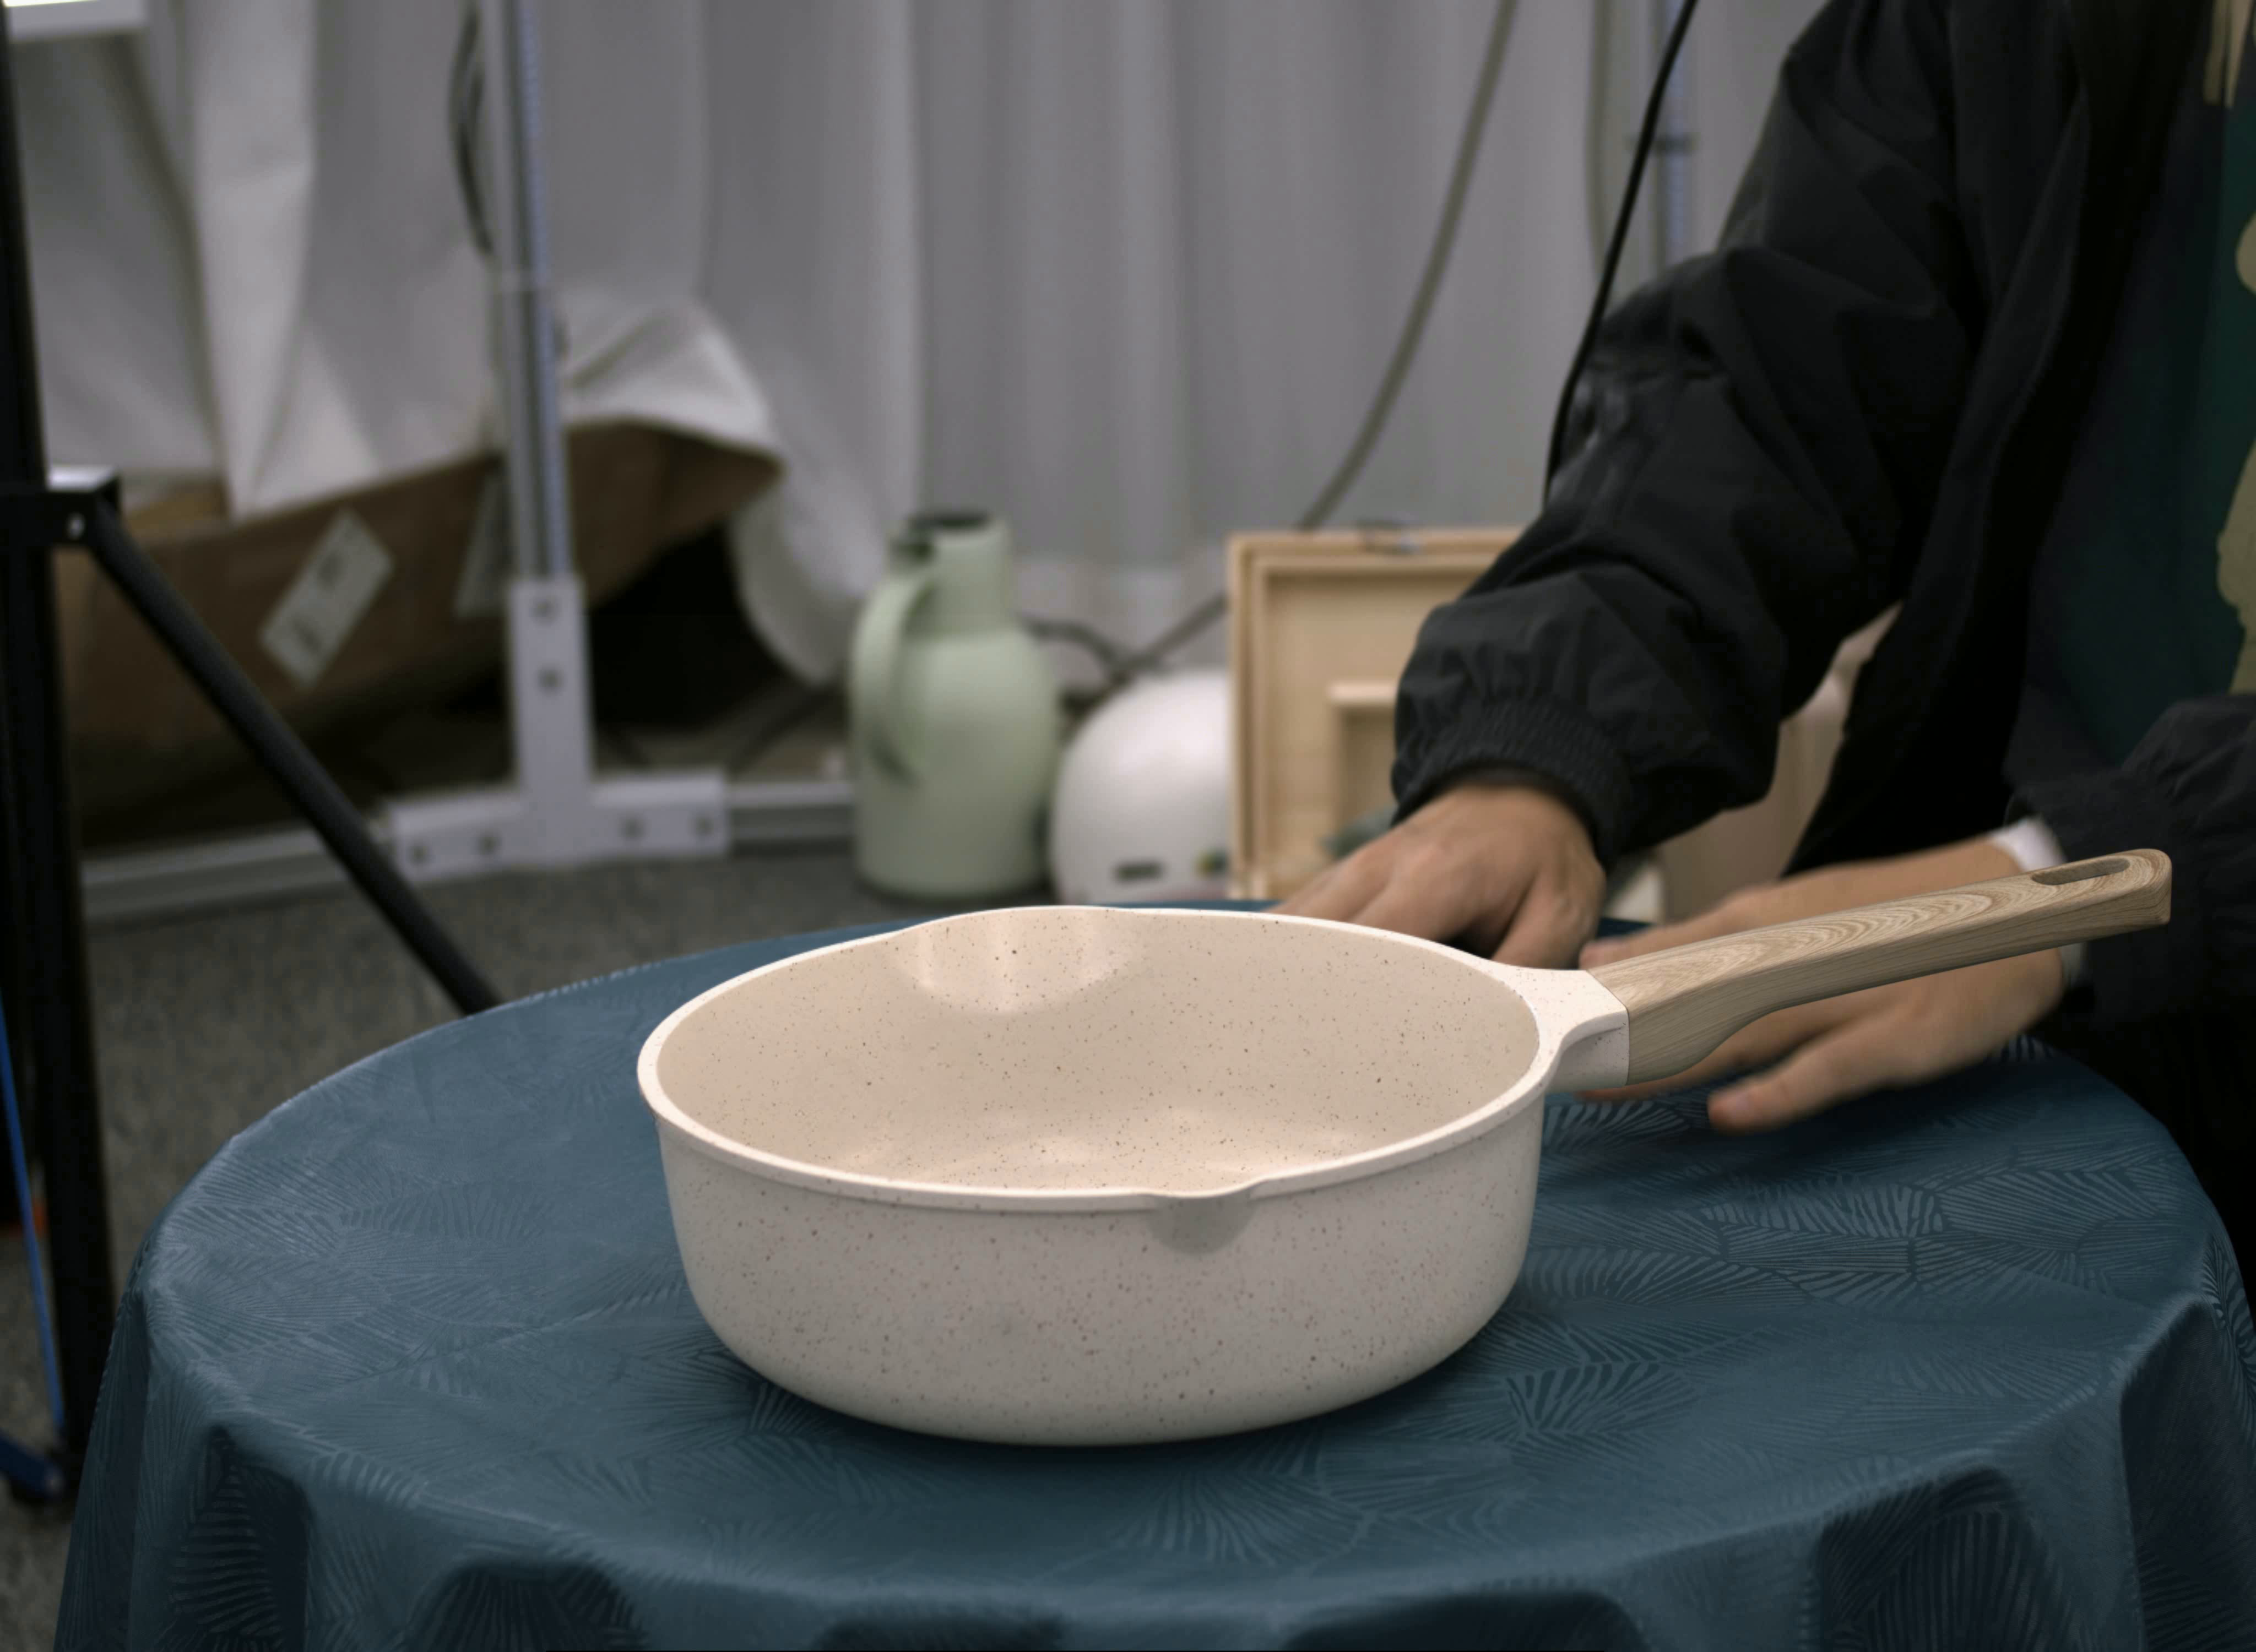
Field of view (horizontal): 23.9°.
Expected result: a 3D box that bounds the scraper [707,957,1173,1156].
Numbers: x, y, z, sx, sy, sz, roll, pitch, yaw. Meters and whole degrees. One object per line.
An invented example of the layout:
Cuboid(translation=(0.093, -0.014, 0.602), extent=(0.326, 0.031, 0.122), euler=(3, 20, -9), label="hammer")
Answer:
Cuboid(translation=(-0.047, 0.071, 1.682), extent=(0.077, 0.011, 0.207), euler=(9, 18, 31), label="scraper")

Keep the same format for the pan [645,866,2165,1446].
Cuboid(translation=(0.084, 0.082, 1.458), extent=(0.429, 0.102, 0.266), euler=(-5, 14, -11), label="pan")
